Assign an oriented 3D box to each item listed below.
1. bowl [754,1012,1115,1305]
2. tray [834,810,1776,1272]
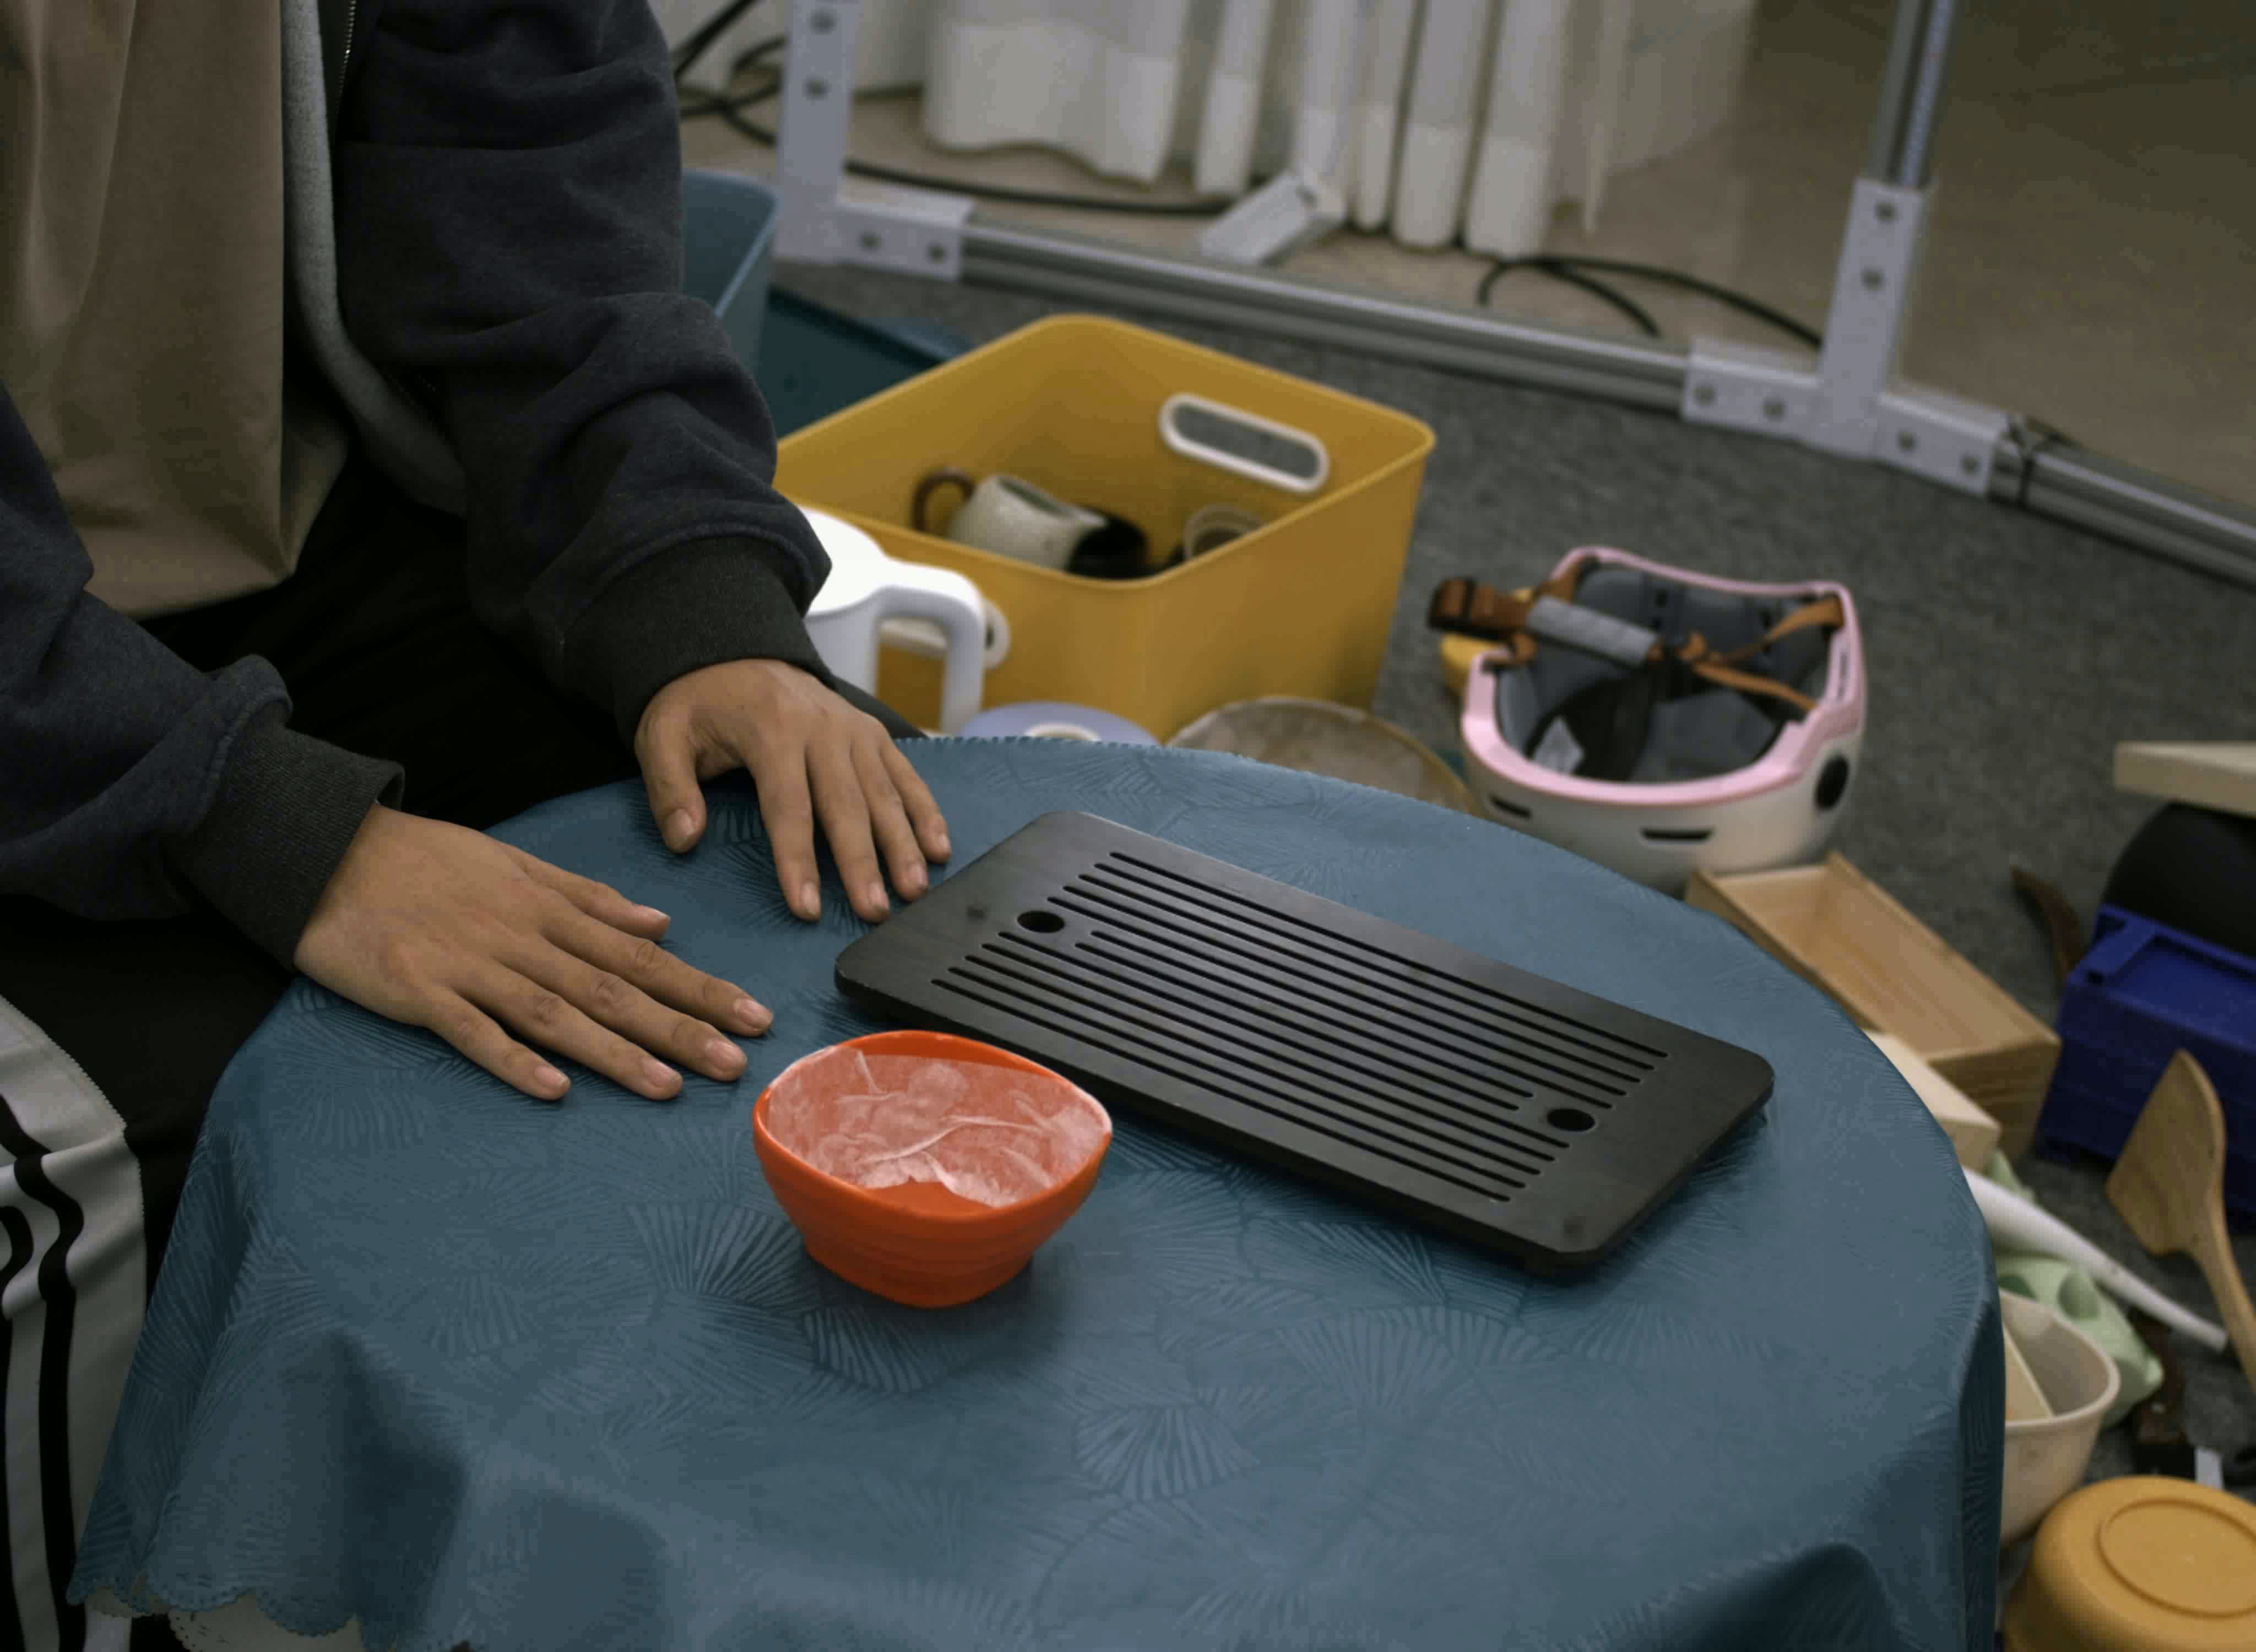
[{"bbox_3d":[-0.066,0.114,1.742,0.118,0.051,0.120,7,31,-5],"label":"bowl"},{"bbox_3d":[0.062,0.074,1.893,0.307,0.018,0.170,19,30,25],"label":"tray"}]
